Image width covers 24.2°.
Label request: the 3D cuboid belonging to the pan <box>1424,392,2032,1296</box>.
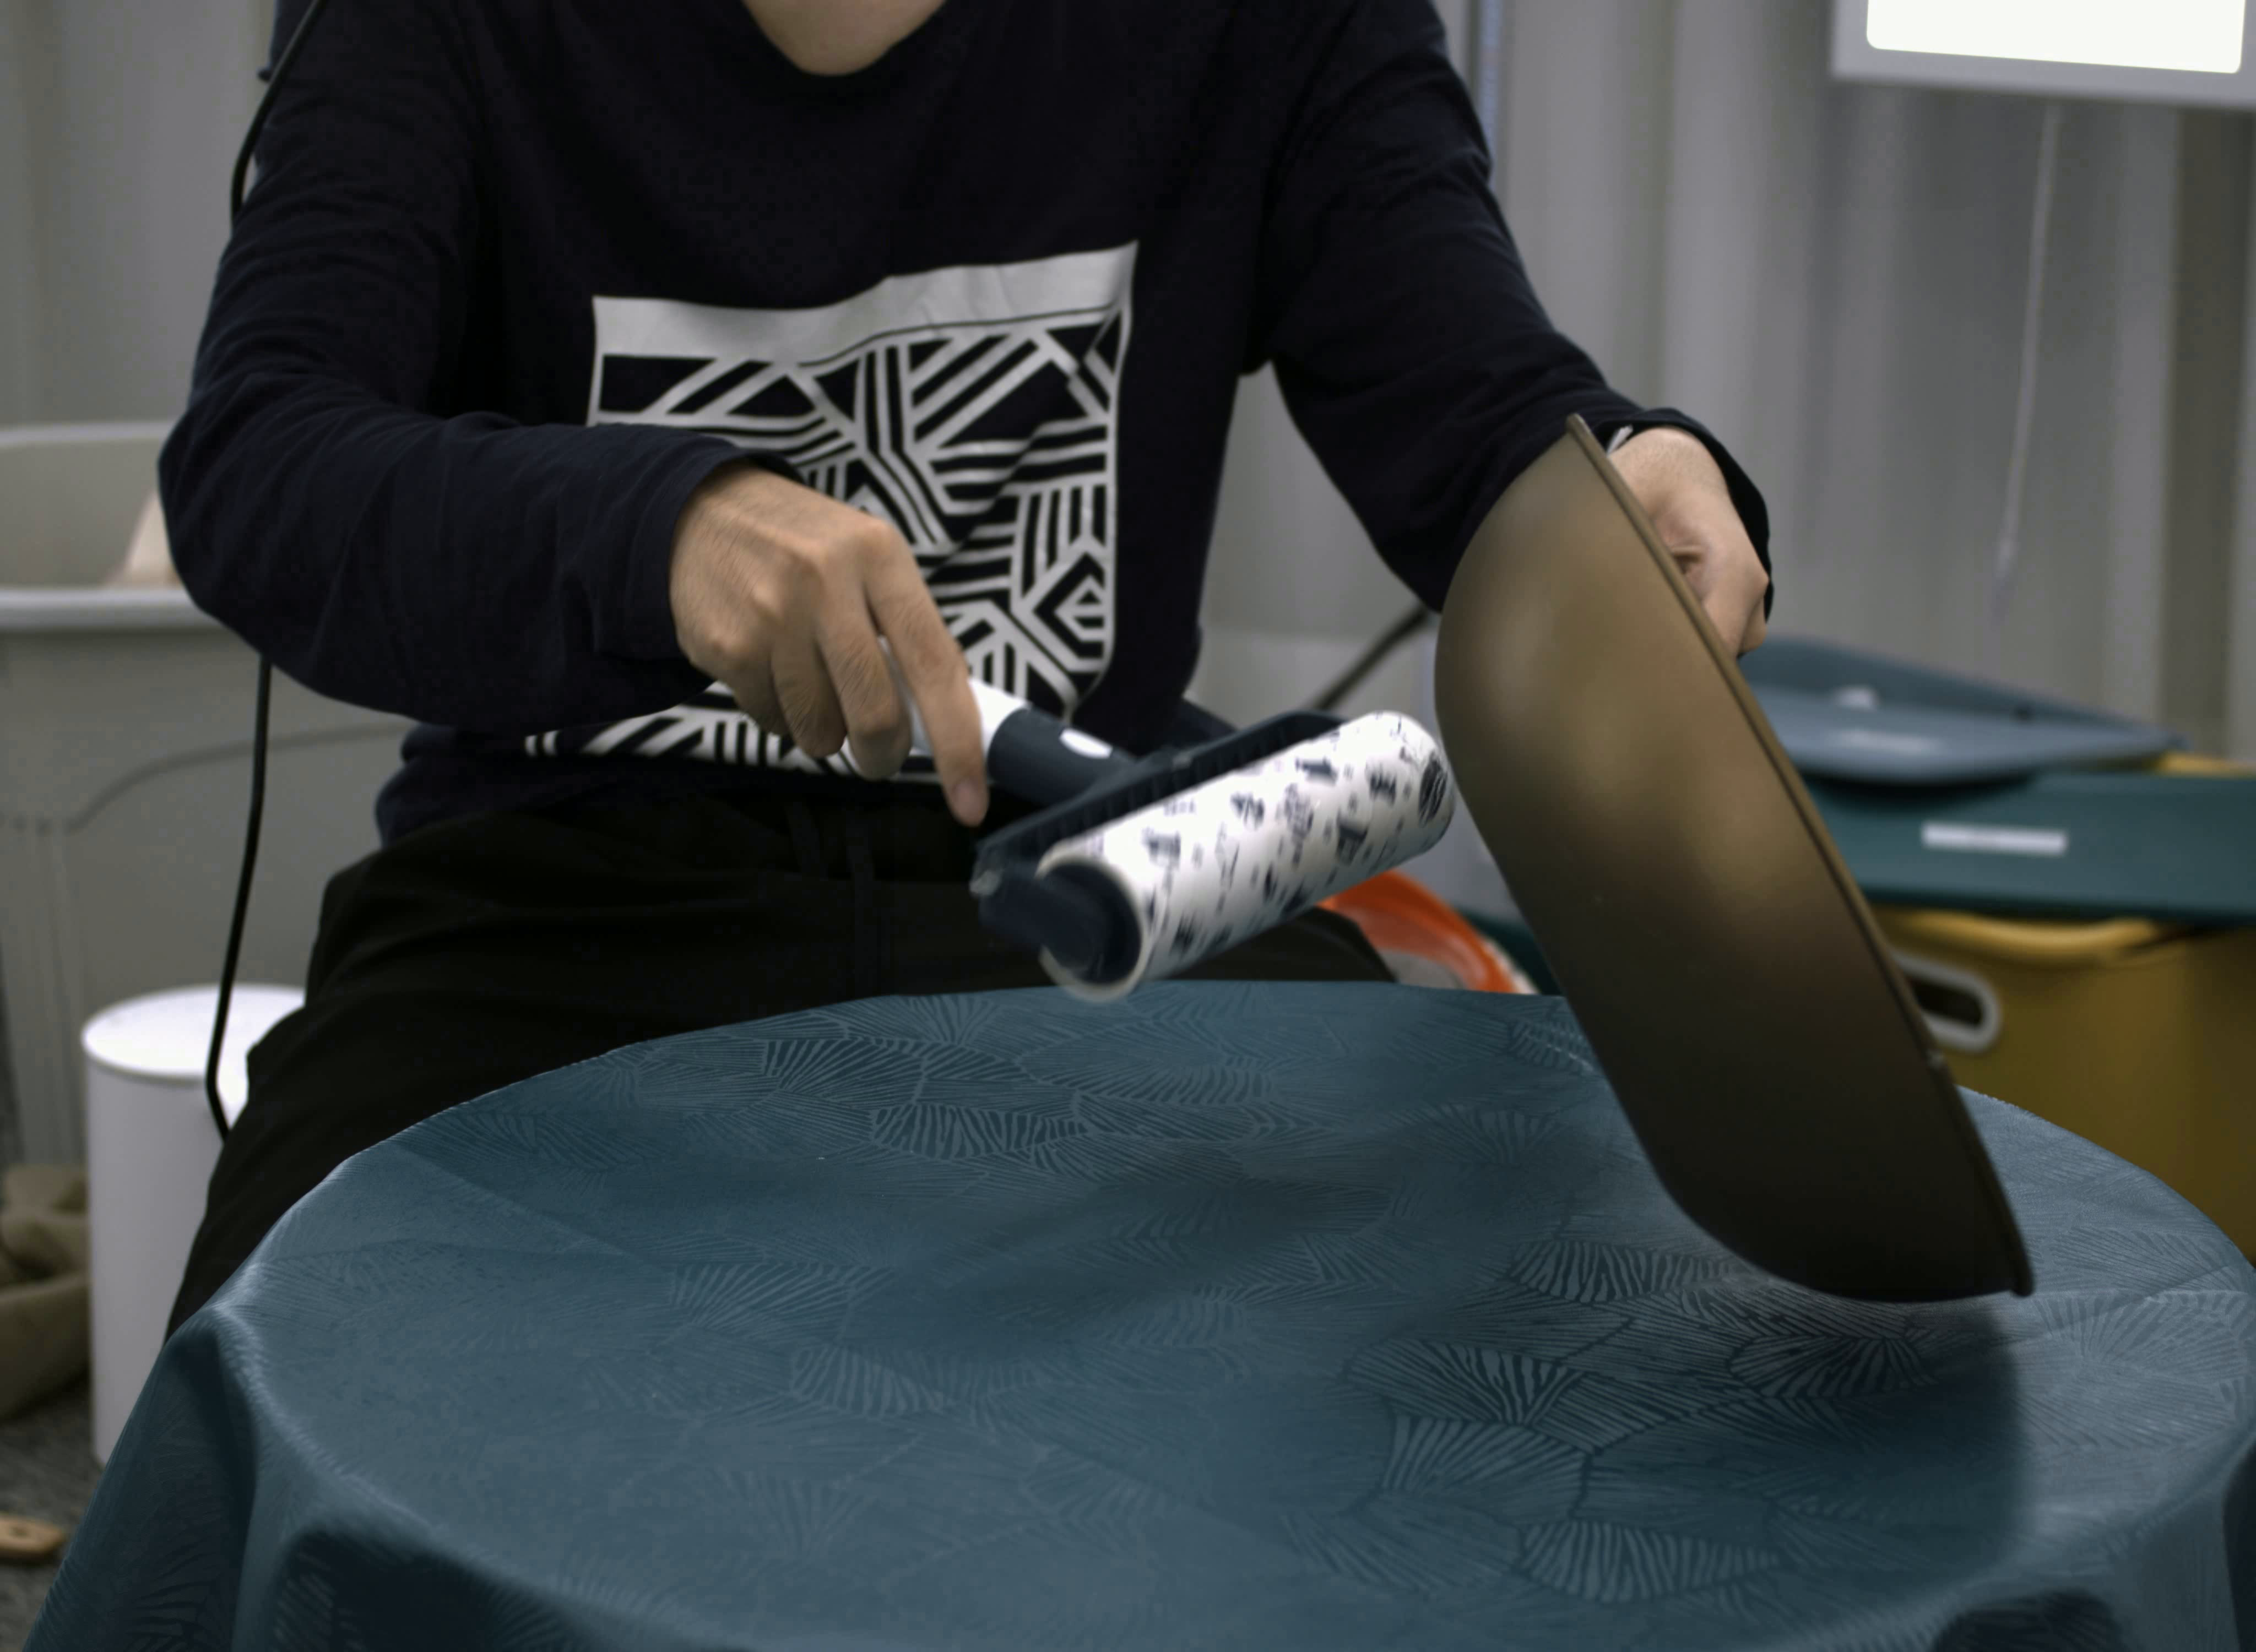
[{"bbox_3d":[0.146,-0.008,1.580,0.086,0.291,0.459,-27,20,3],"label":"pan"}]

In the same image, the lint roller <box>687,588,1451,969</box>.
[{"bbox_3d":[-0.043,-0.034,1.652,0.244,0.051,0.177,24,29,30],"label":"lint roller"}]
